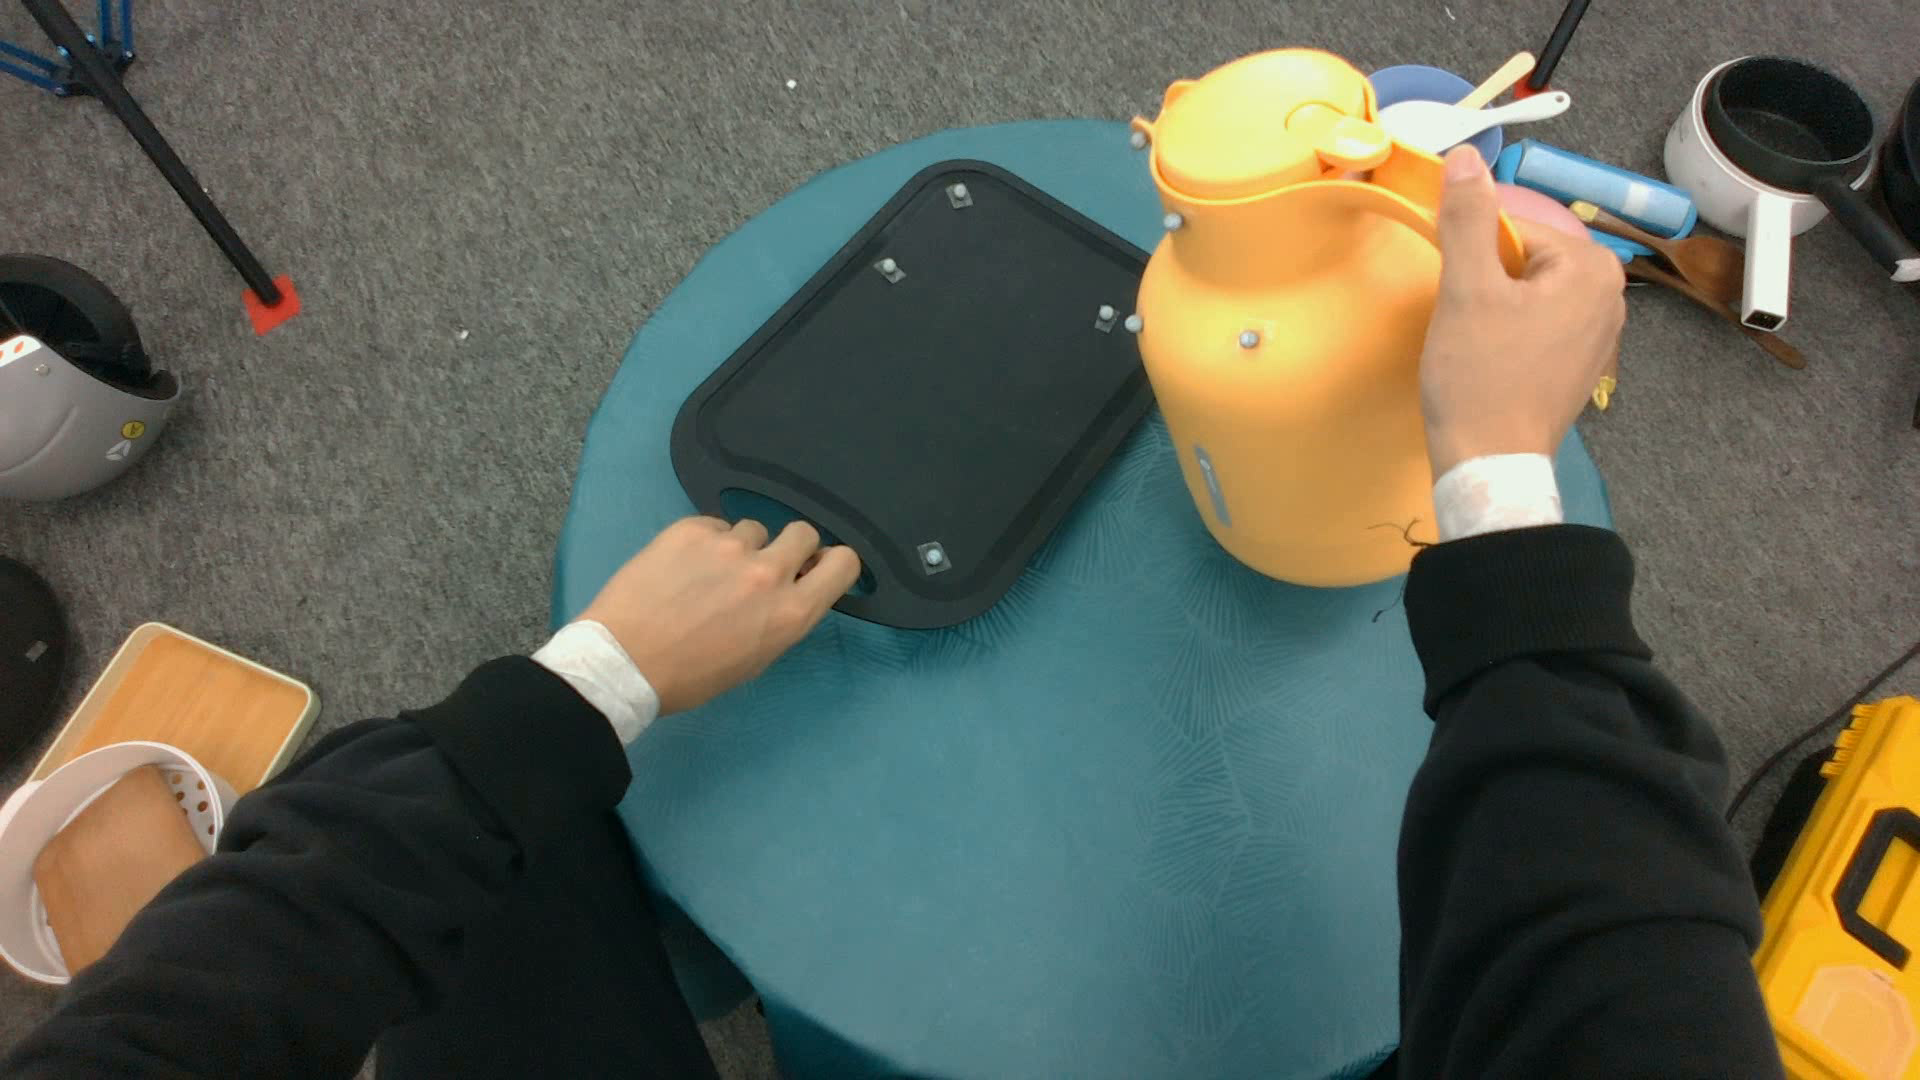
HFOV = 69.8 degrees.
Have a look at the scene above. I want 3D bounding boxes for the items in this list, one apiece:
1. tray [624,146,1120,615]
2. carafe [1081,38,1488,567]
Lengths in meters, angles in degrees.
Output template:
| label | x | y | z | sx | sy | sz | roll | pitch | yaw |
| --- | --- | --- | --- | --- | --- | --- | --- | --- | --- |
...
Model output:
| label | x | y | z | sx | sy | sz | roll | pitch | yaw |
| --- | --- | --- | --- | --- | --- | --- | --- | --- | --- |
| tray | -0.033 | -0.101 | 0.787 | 0.211 | 0.010 | 0.327 | 33 | 60 | 10 |
| carafe | 0.161 | -0.106 | 0.665 | 0.164 | 0.260 | 0.202 | -44 | 45 | -11 |
